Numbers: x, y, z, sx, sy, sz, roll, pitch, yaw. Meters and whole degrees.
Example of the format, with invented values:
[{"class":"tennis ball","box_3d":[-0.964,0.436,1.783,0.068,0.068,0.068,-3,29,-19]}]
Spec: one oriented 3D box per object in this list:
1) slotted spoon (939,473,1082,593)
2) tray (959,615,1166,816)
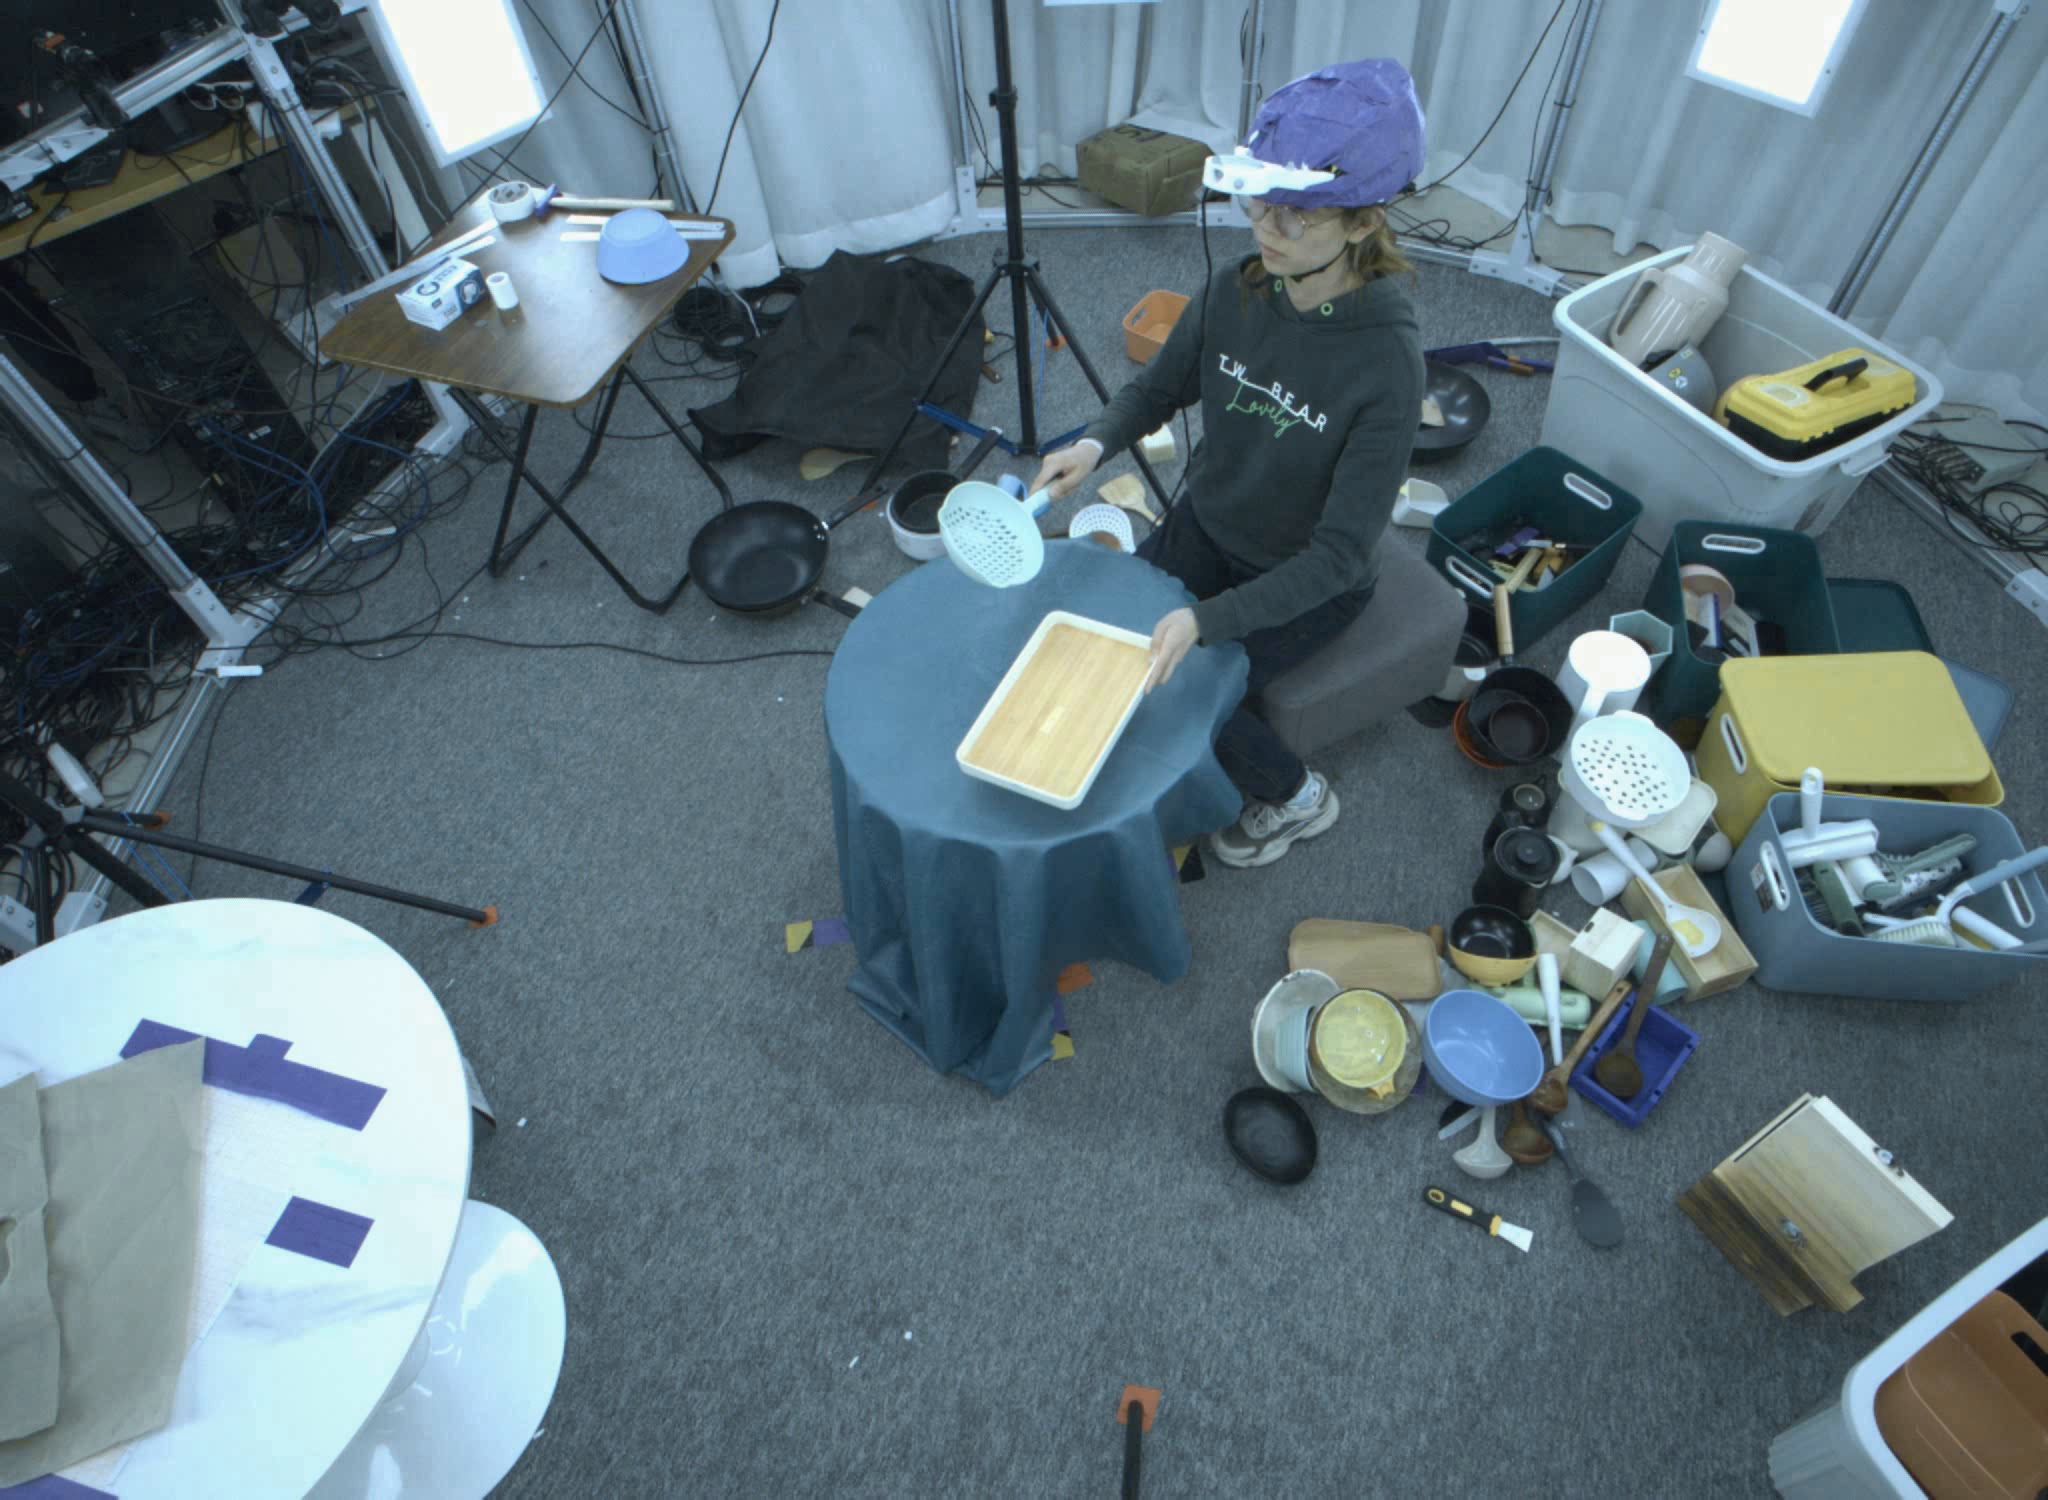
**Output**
[{"class":"slotted spoon","box_3d":[0.000,-0.347,1.818,0.170,0.074,0.361,50,53,-7]},{"class":"tray","box_3d":[0.058,-0.056,1.735,0.188,0.028,0.301,21,61,21]}]
